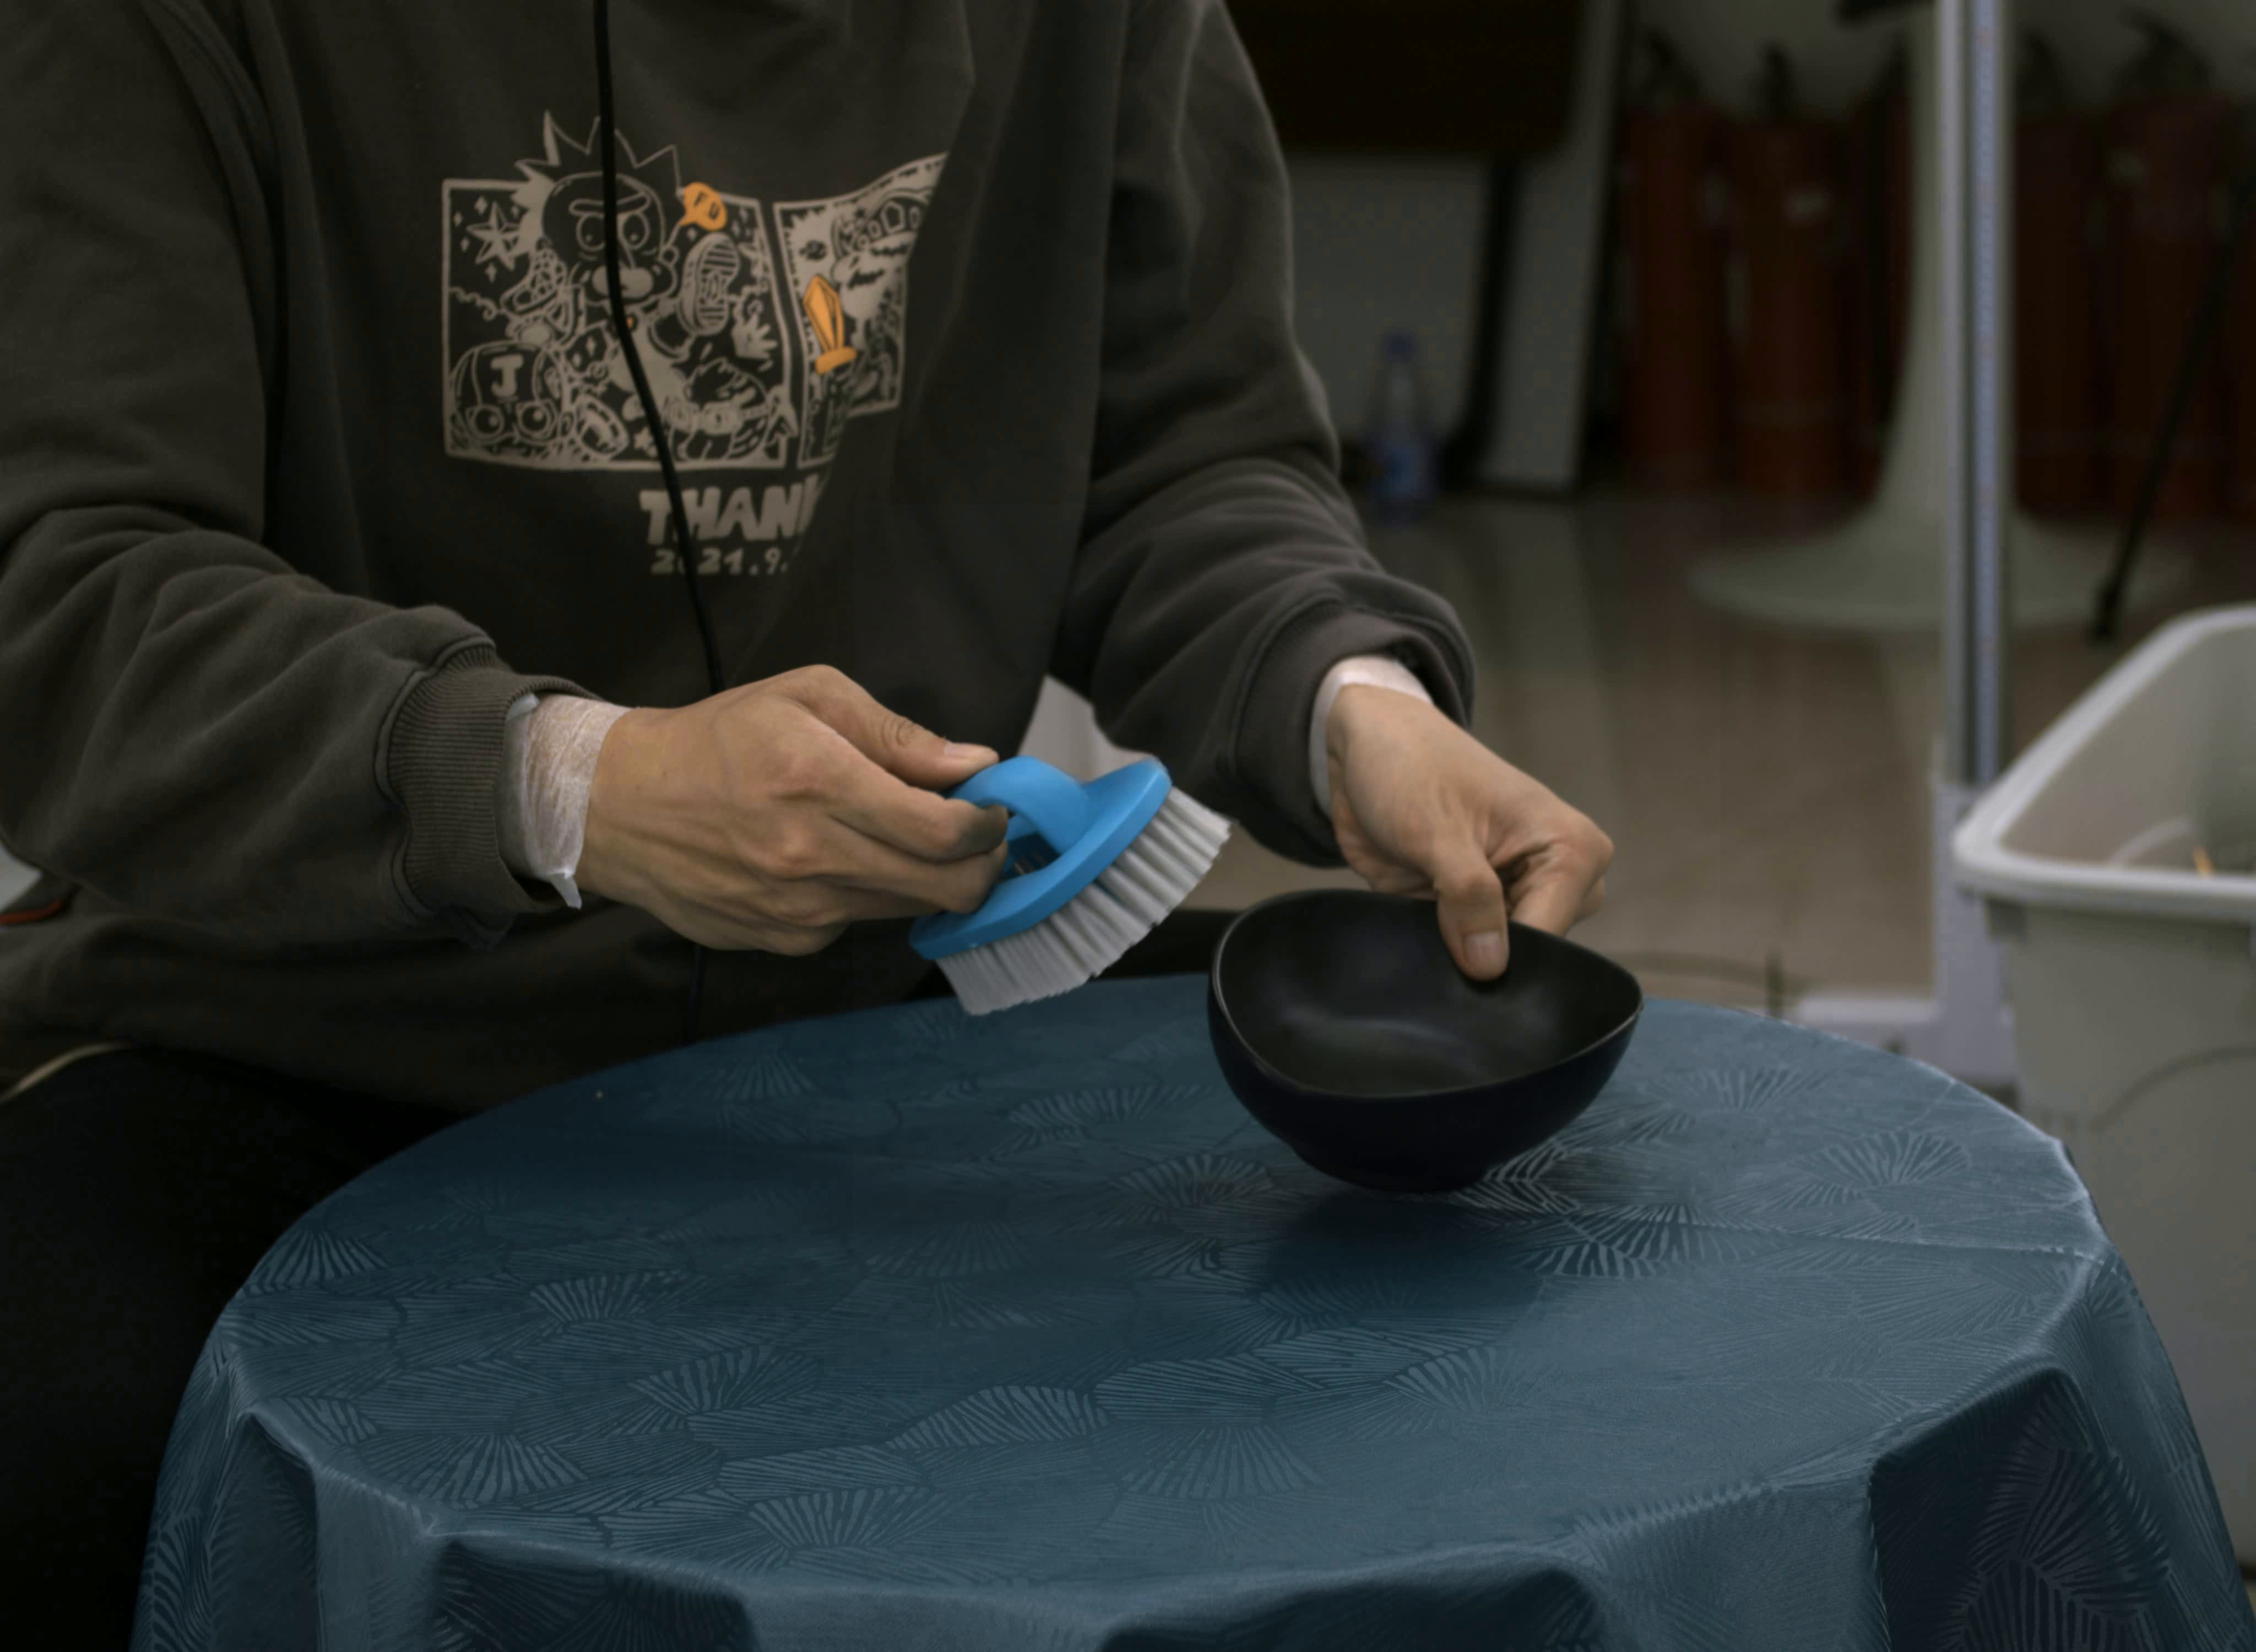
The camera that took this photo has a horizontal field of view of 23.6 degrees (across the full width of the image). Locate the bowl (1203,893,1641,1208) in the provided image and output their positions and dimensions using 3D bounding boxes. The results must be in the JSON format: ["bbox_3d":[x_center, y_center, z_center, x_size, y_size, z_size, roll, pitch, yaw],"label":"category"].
[{"bbox_3d":[0.091,0.080,1.735,0.137,0.067,0.168,15,22,22],"label":"bowl"}]

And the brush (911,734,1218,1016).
[{"bbox_3d":[-0.031,0.007,1.699,0.084,0.063,0.143,-51,12,-20],"label":"brush"}]
